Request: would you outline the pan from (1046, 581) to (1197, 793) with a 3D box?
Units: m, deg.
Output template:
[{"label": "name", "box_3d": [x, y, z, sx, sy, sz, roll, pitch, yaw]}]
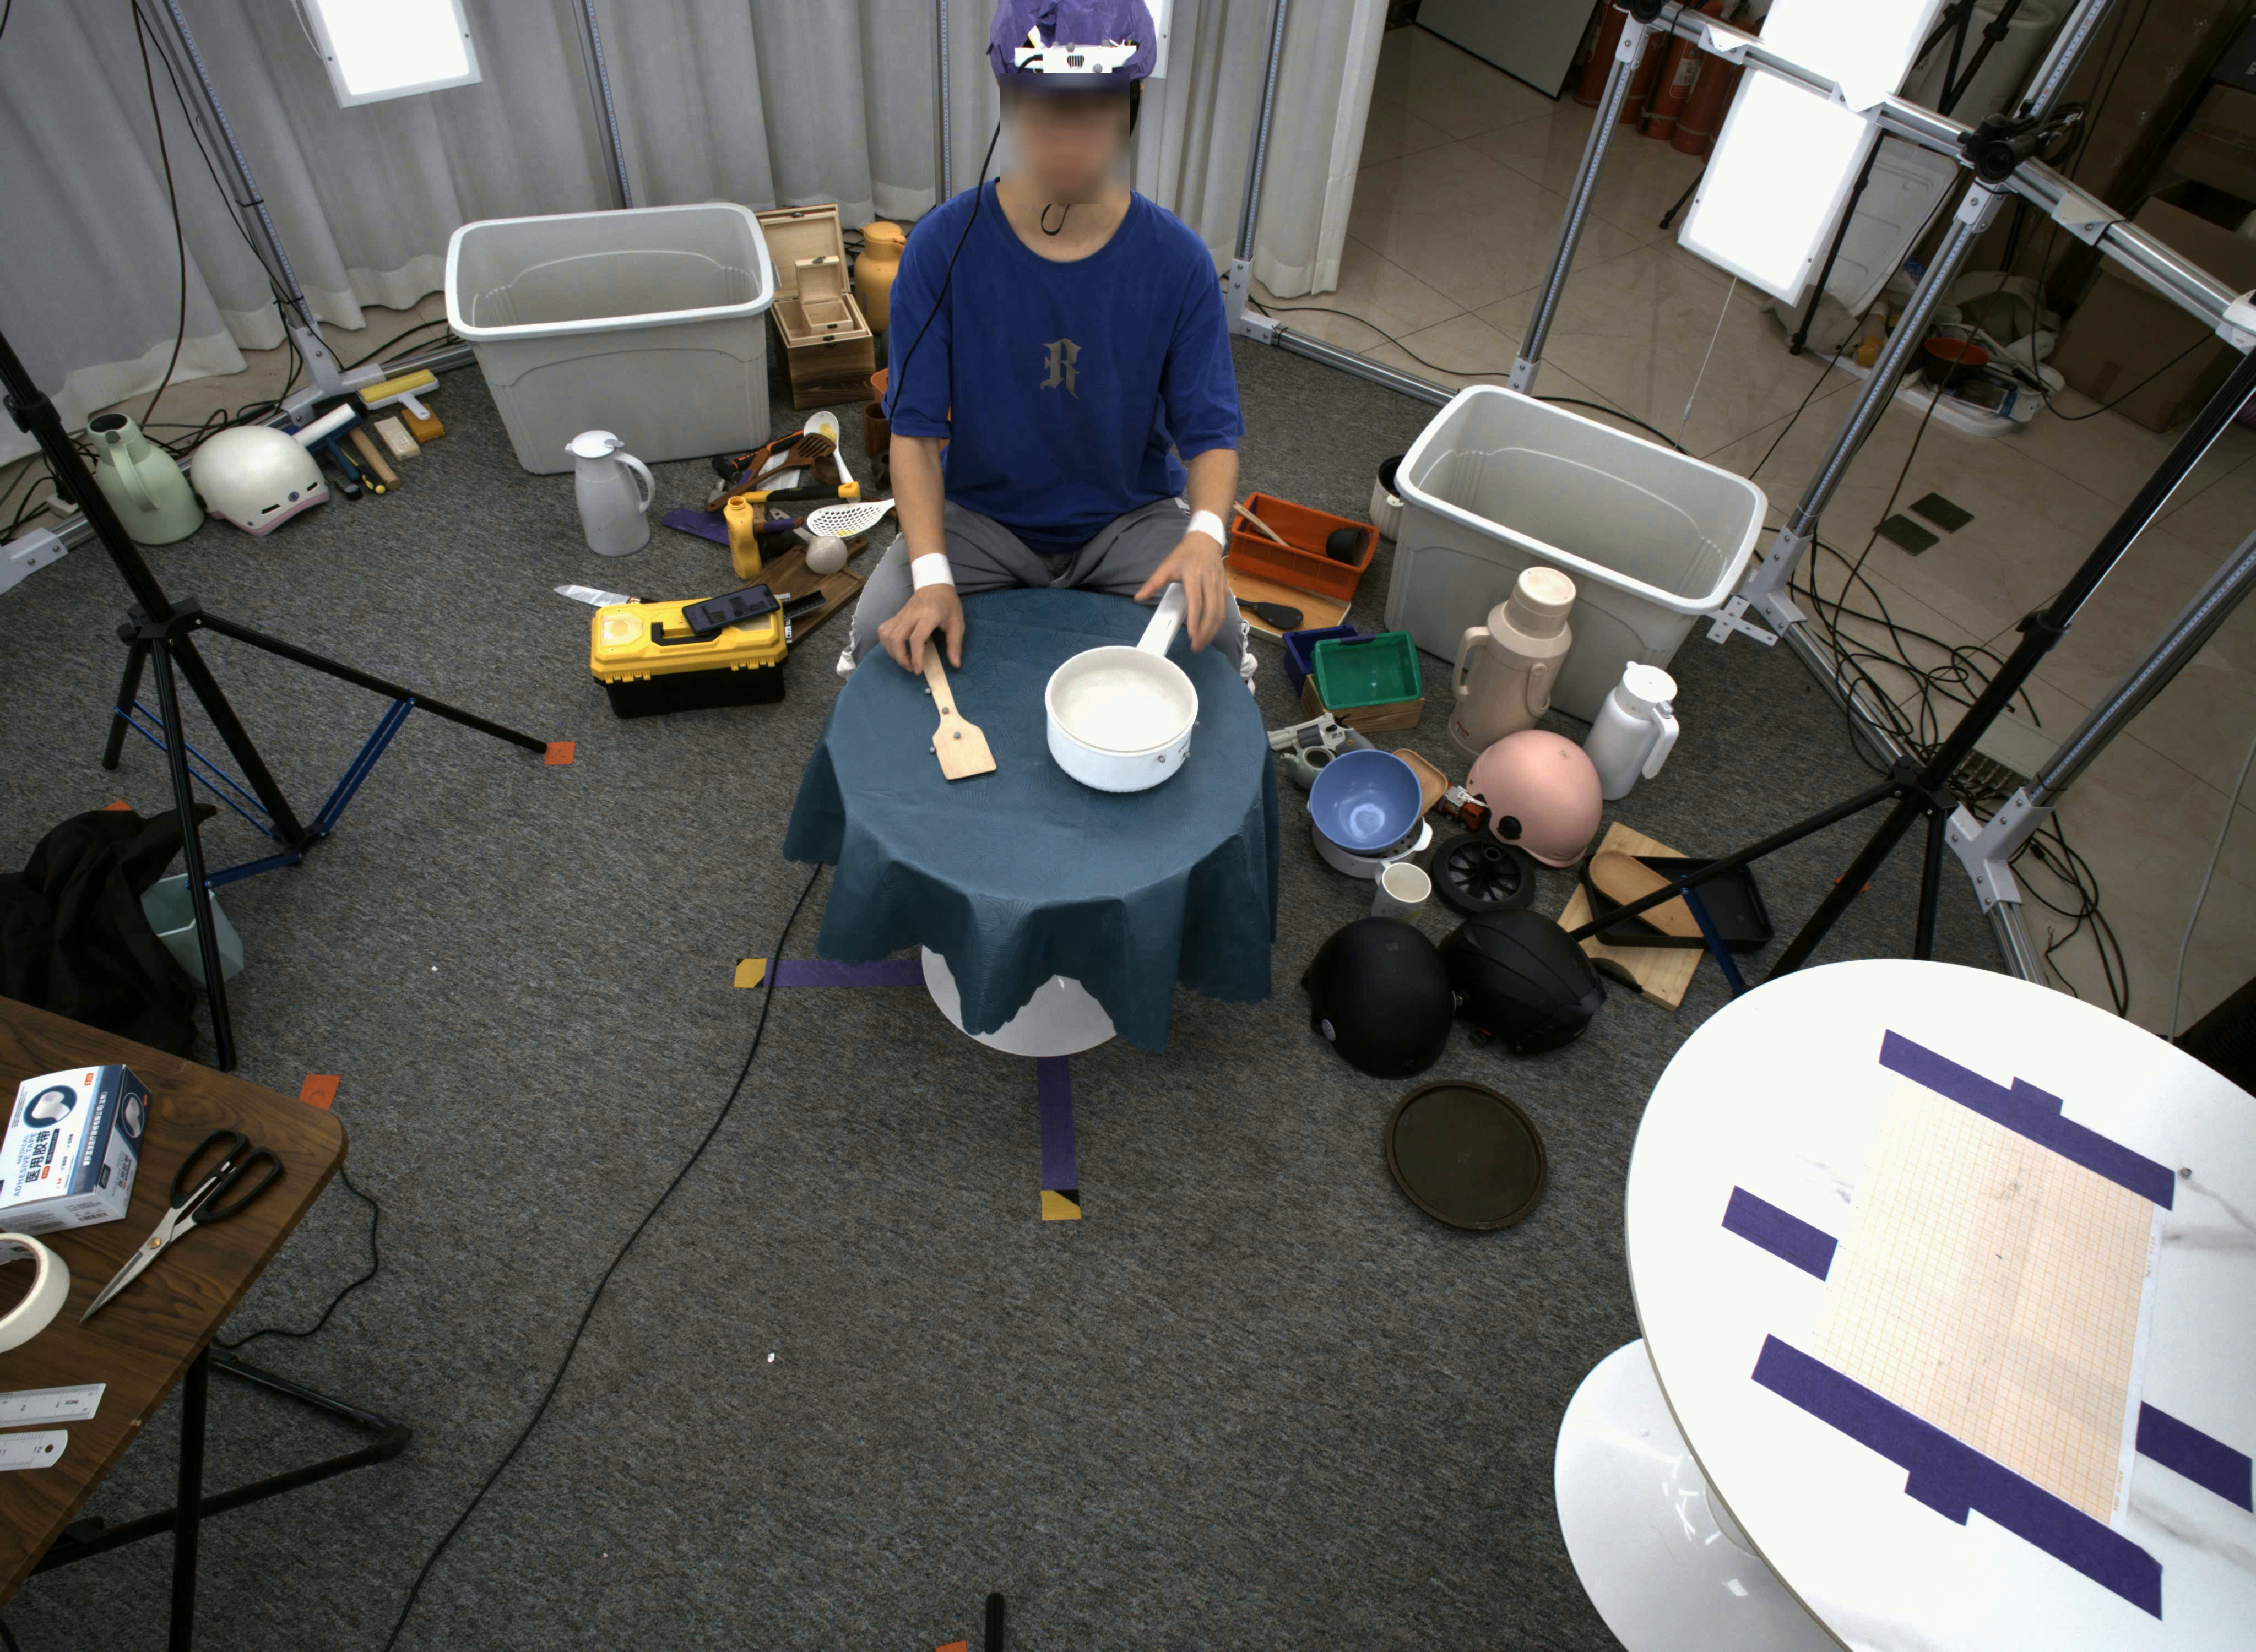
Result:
[{"label": "pan", "box_3d": [0.017, -0.194, 1.778, 0.202, 0.099, 0.362, 16, 51, 12]}]

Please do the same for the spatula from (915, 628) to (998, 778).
[{"label": "spatula", "box_3d": [-0.255, -0.178, 1.804, 0.072, 0.010, 0.300, -14, 52, -13]}]
